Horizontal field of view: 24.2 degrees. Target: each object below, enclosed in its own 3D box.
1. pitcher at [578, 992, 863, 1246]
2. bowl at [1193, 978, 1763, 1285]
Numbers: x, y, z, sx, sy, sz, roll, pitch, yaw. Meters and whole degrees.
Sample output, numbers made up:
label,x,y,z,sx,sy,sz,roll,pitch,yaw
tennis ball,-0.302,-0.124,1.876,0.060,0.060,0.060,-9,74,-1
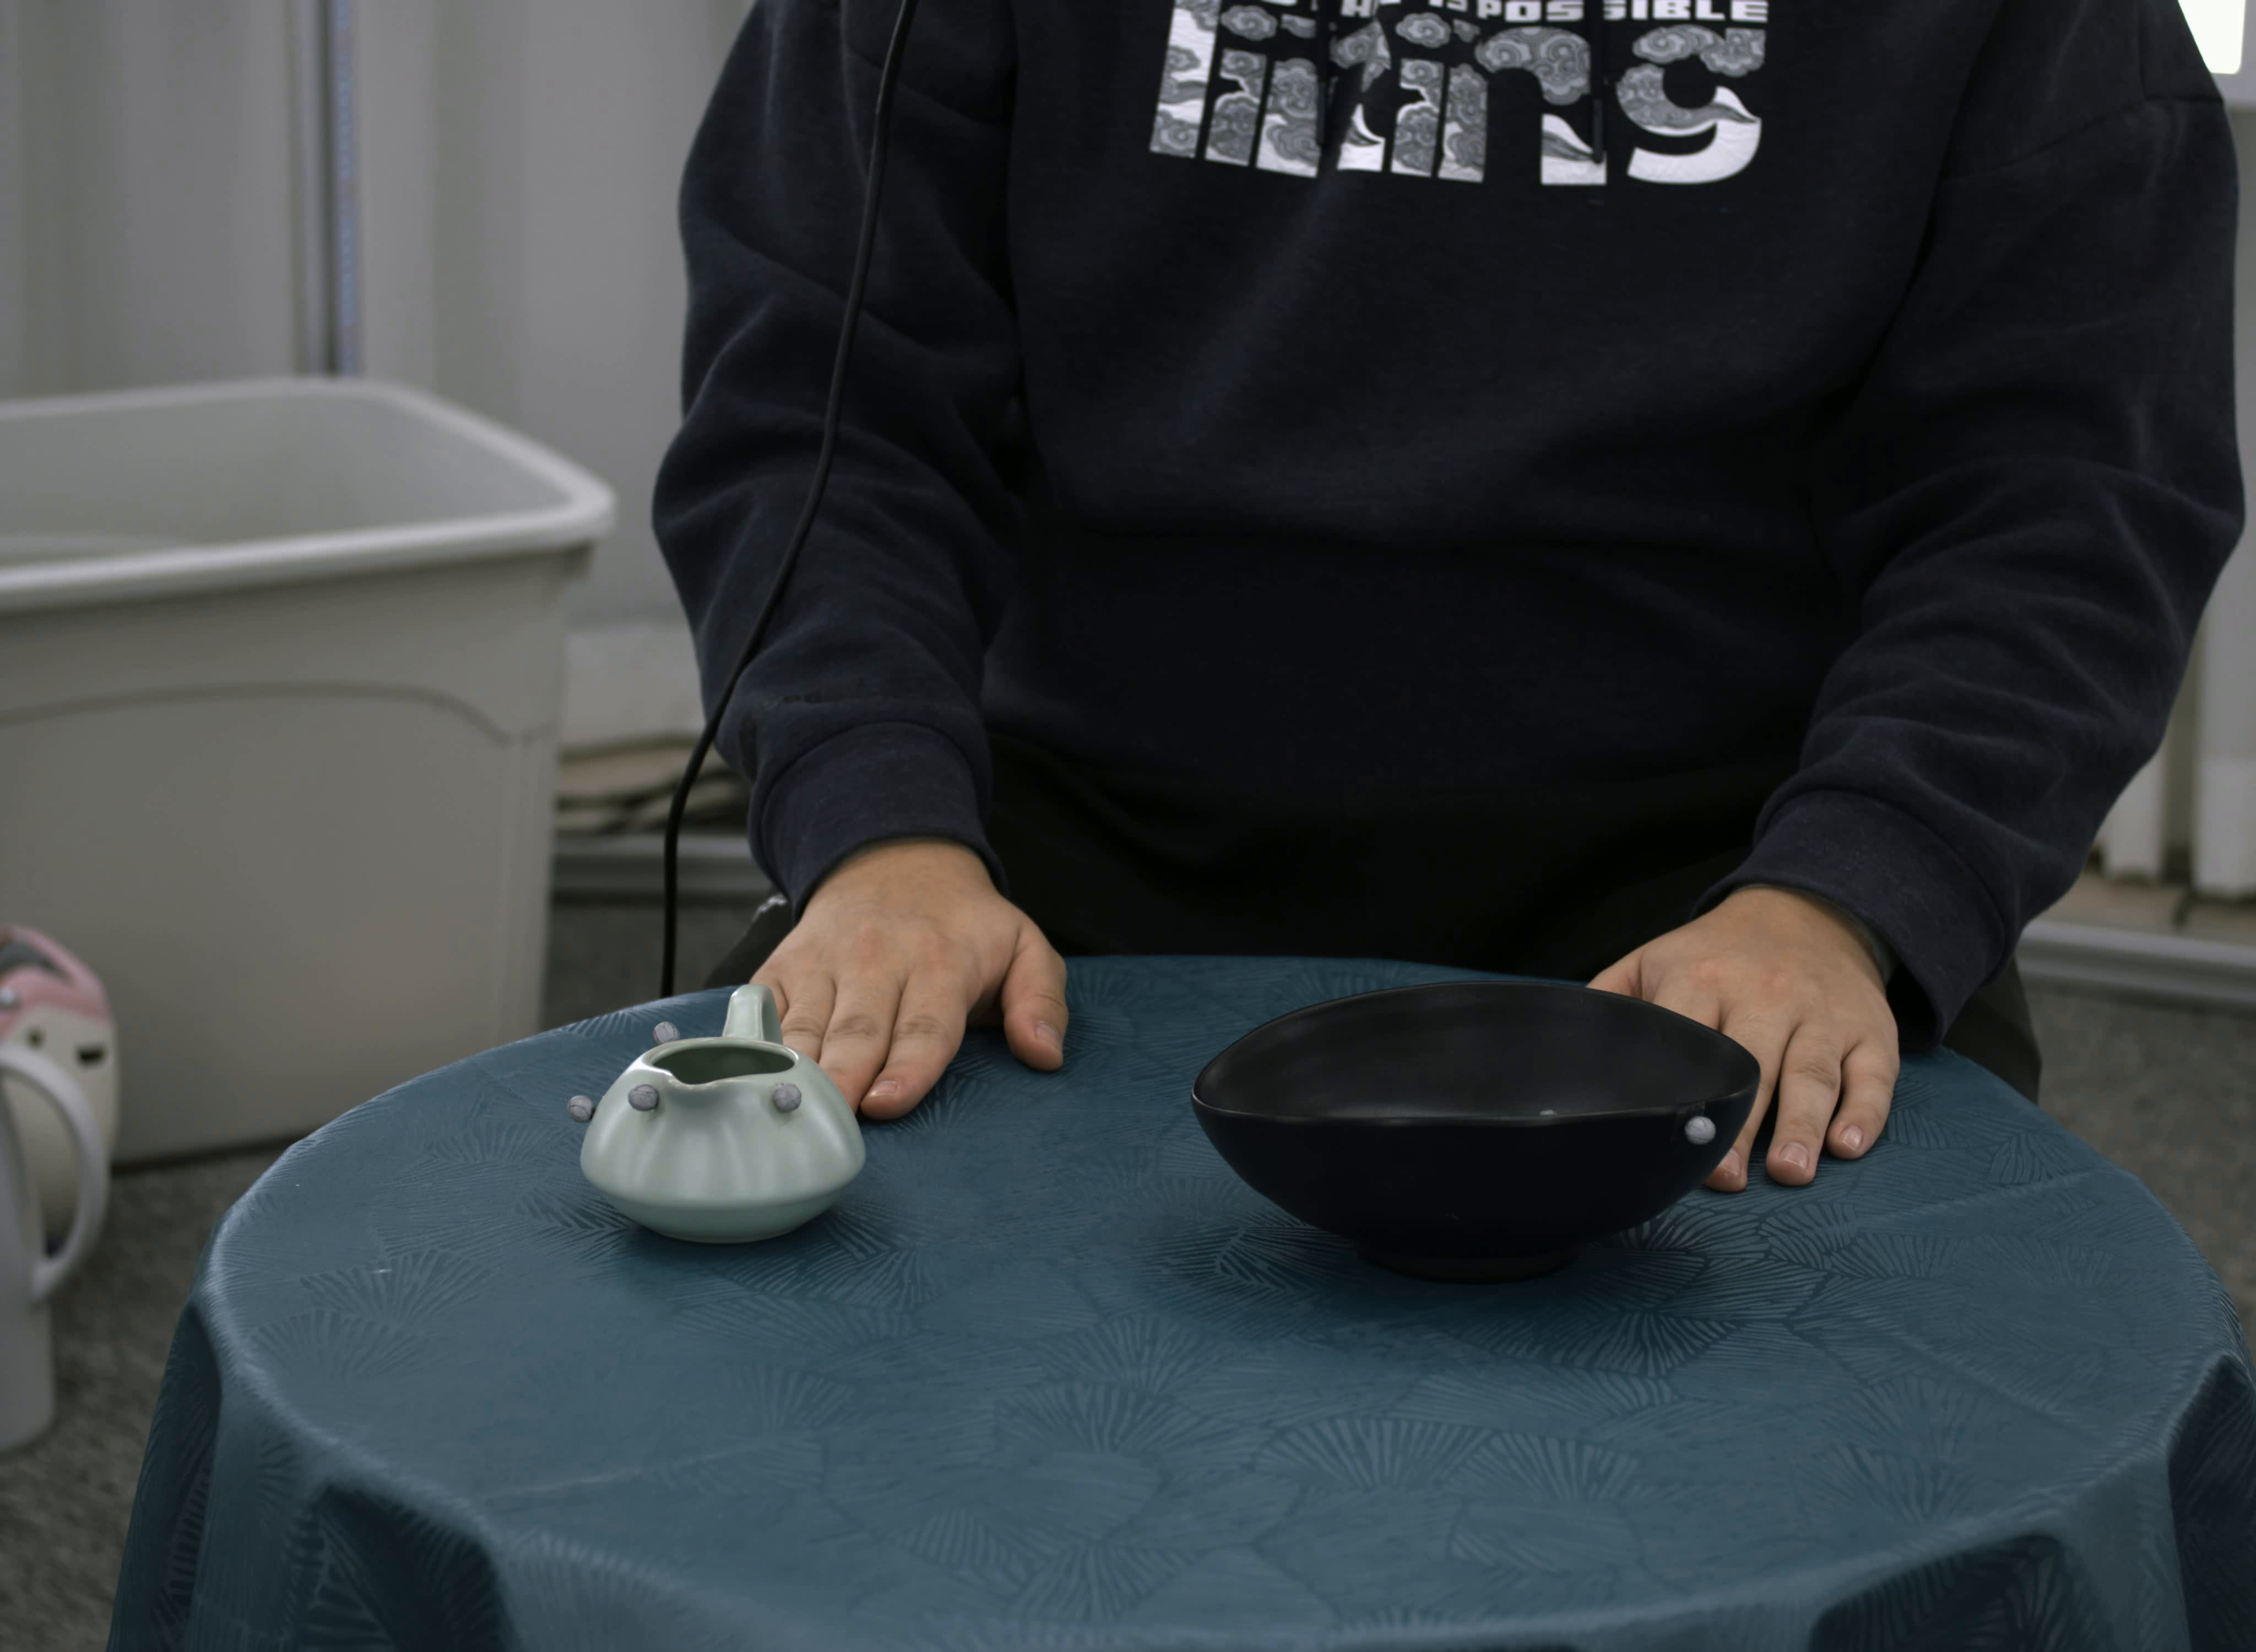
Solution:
label,x,y,z,sx,sy,sz,roll,pitch,yaw
pitcher,-0.121,0.089,1.599,0.085,0.061,0.107,3,14,5
bowl,0.105,0.096,1.573,0.170,0.067,0.136,-1,15,-4
